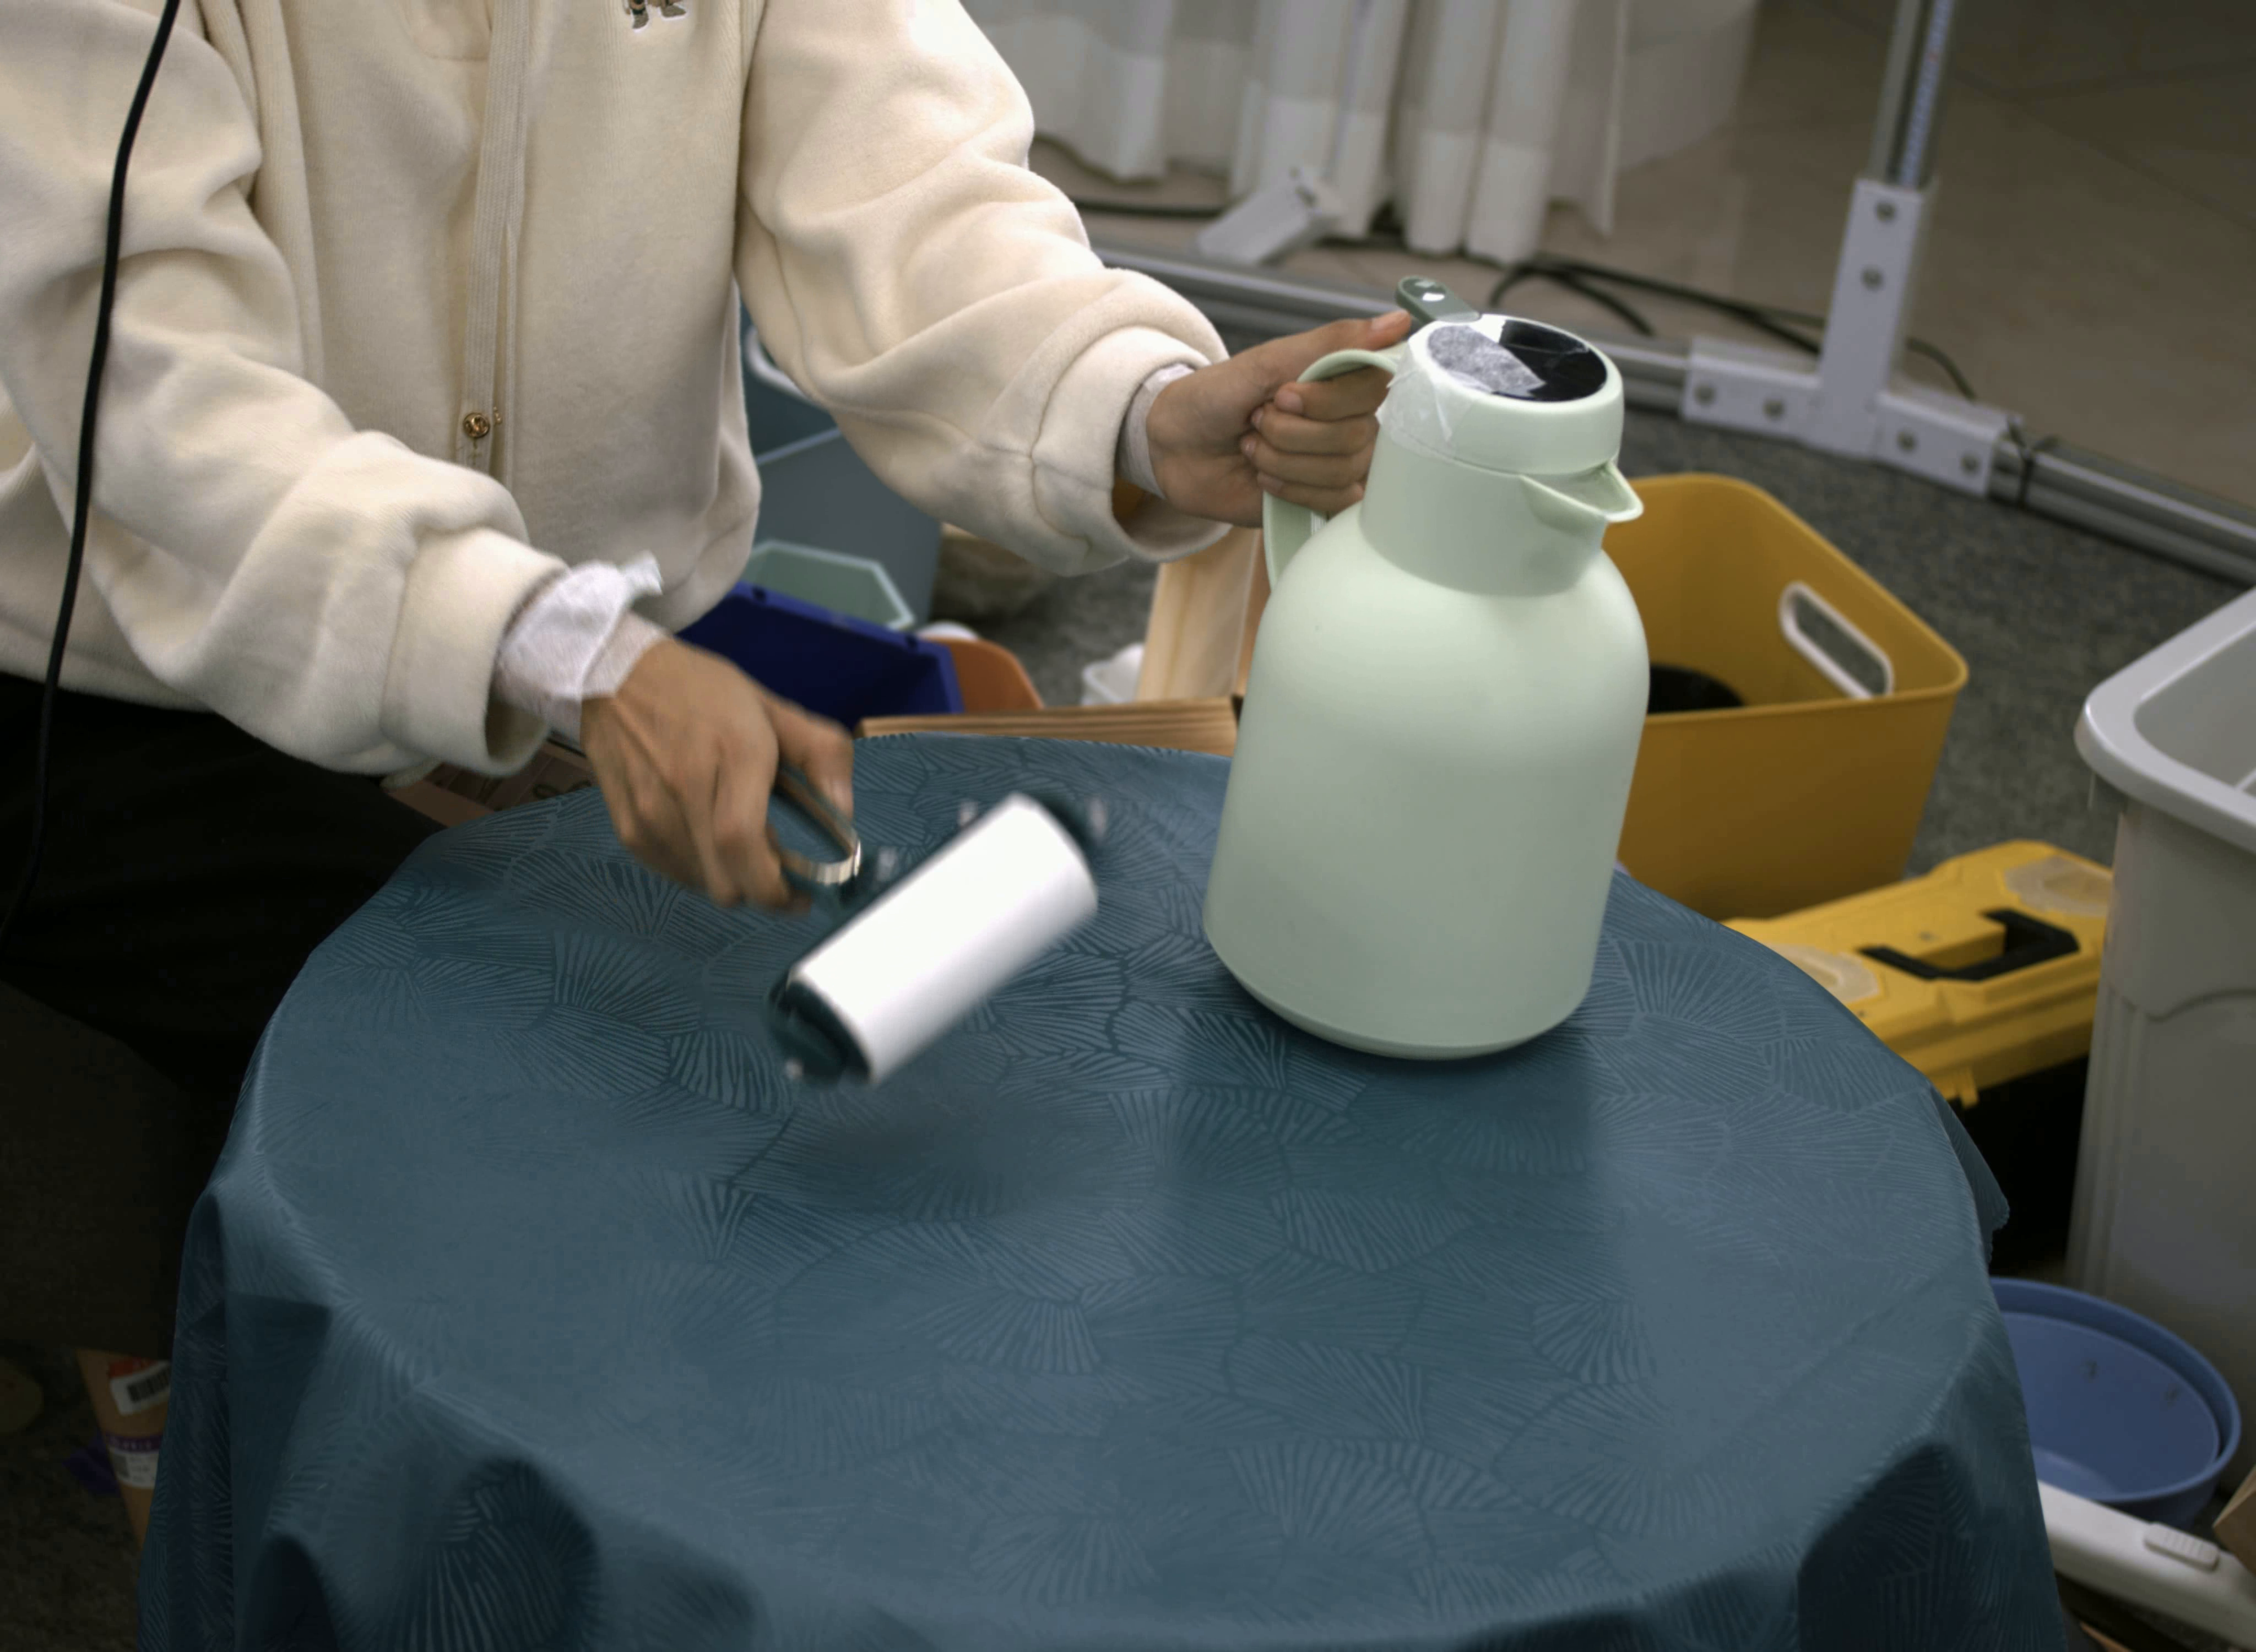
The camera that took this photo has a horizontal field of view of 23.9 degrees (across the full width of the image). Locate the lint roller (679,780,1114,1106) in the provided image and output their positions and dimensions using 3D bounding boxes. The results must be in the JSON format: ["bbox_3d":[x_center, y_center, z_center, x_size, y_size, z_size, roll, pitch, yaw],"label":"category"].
[{"bbox_3d":[-0.104,0.016,1.833,0.134,0.048,0.182,-35,47,-19],"label":"lint roller"}]

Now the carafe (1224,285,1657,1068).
[{"bbox_3d":[0.110,-0.058,1.903,0.143,0.256,0.188,-12,31,-30],"label":"carafe"}]
